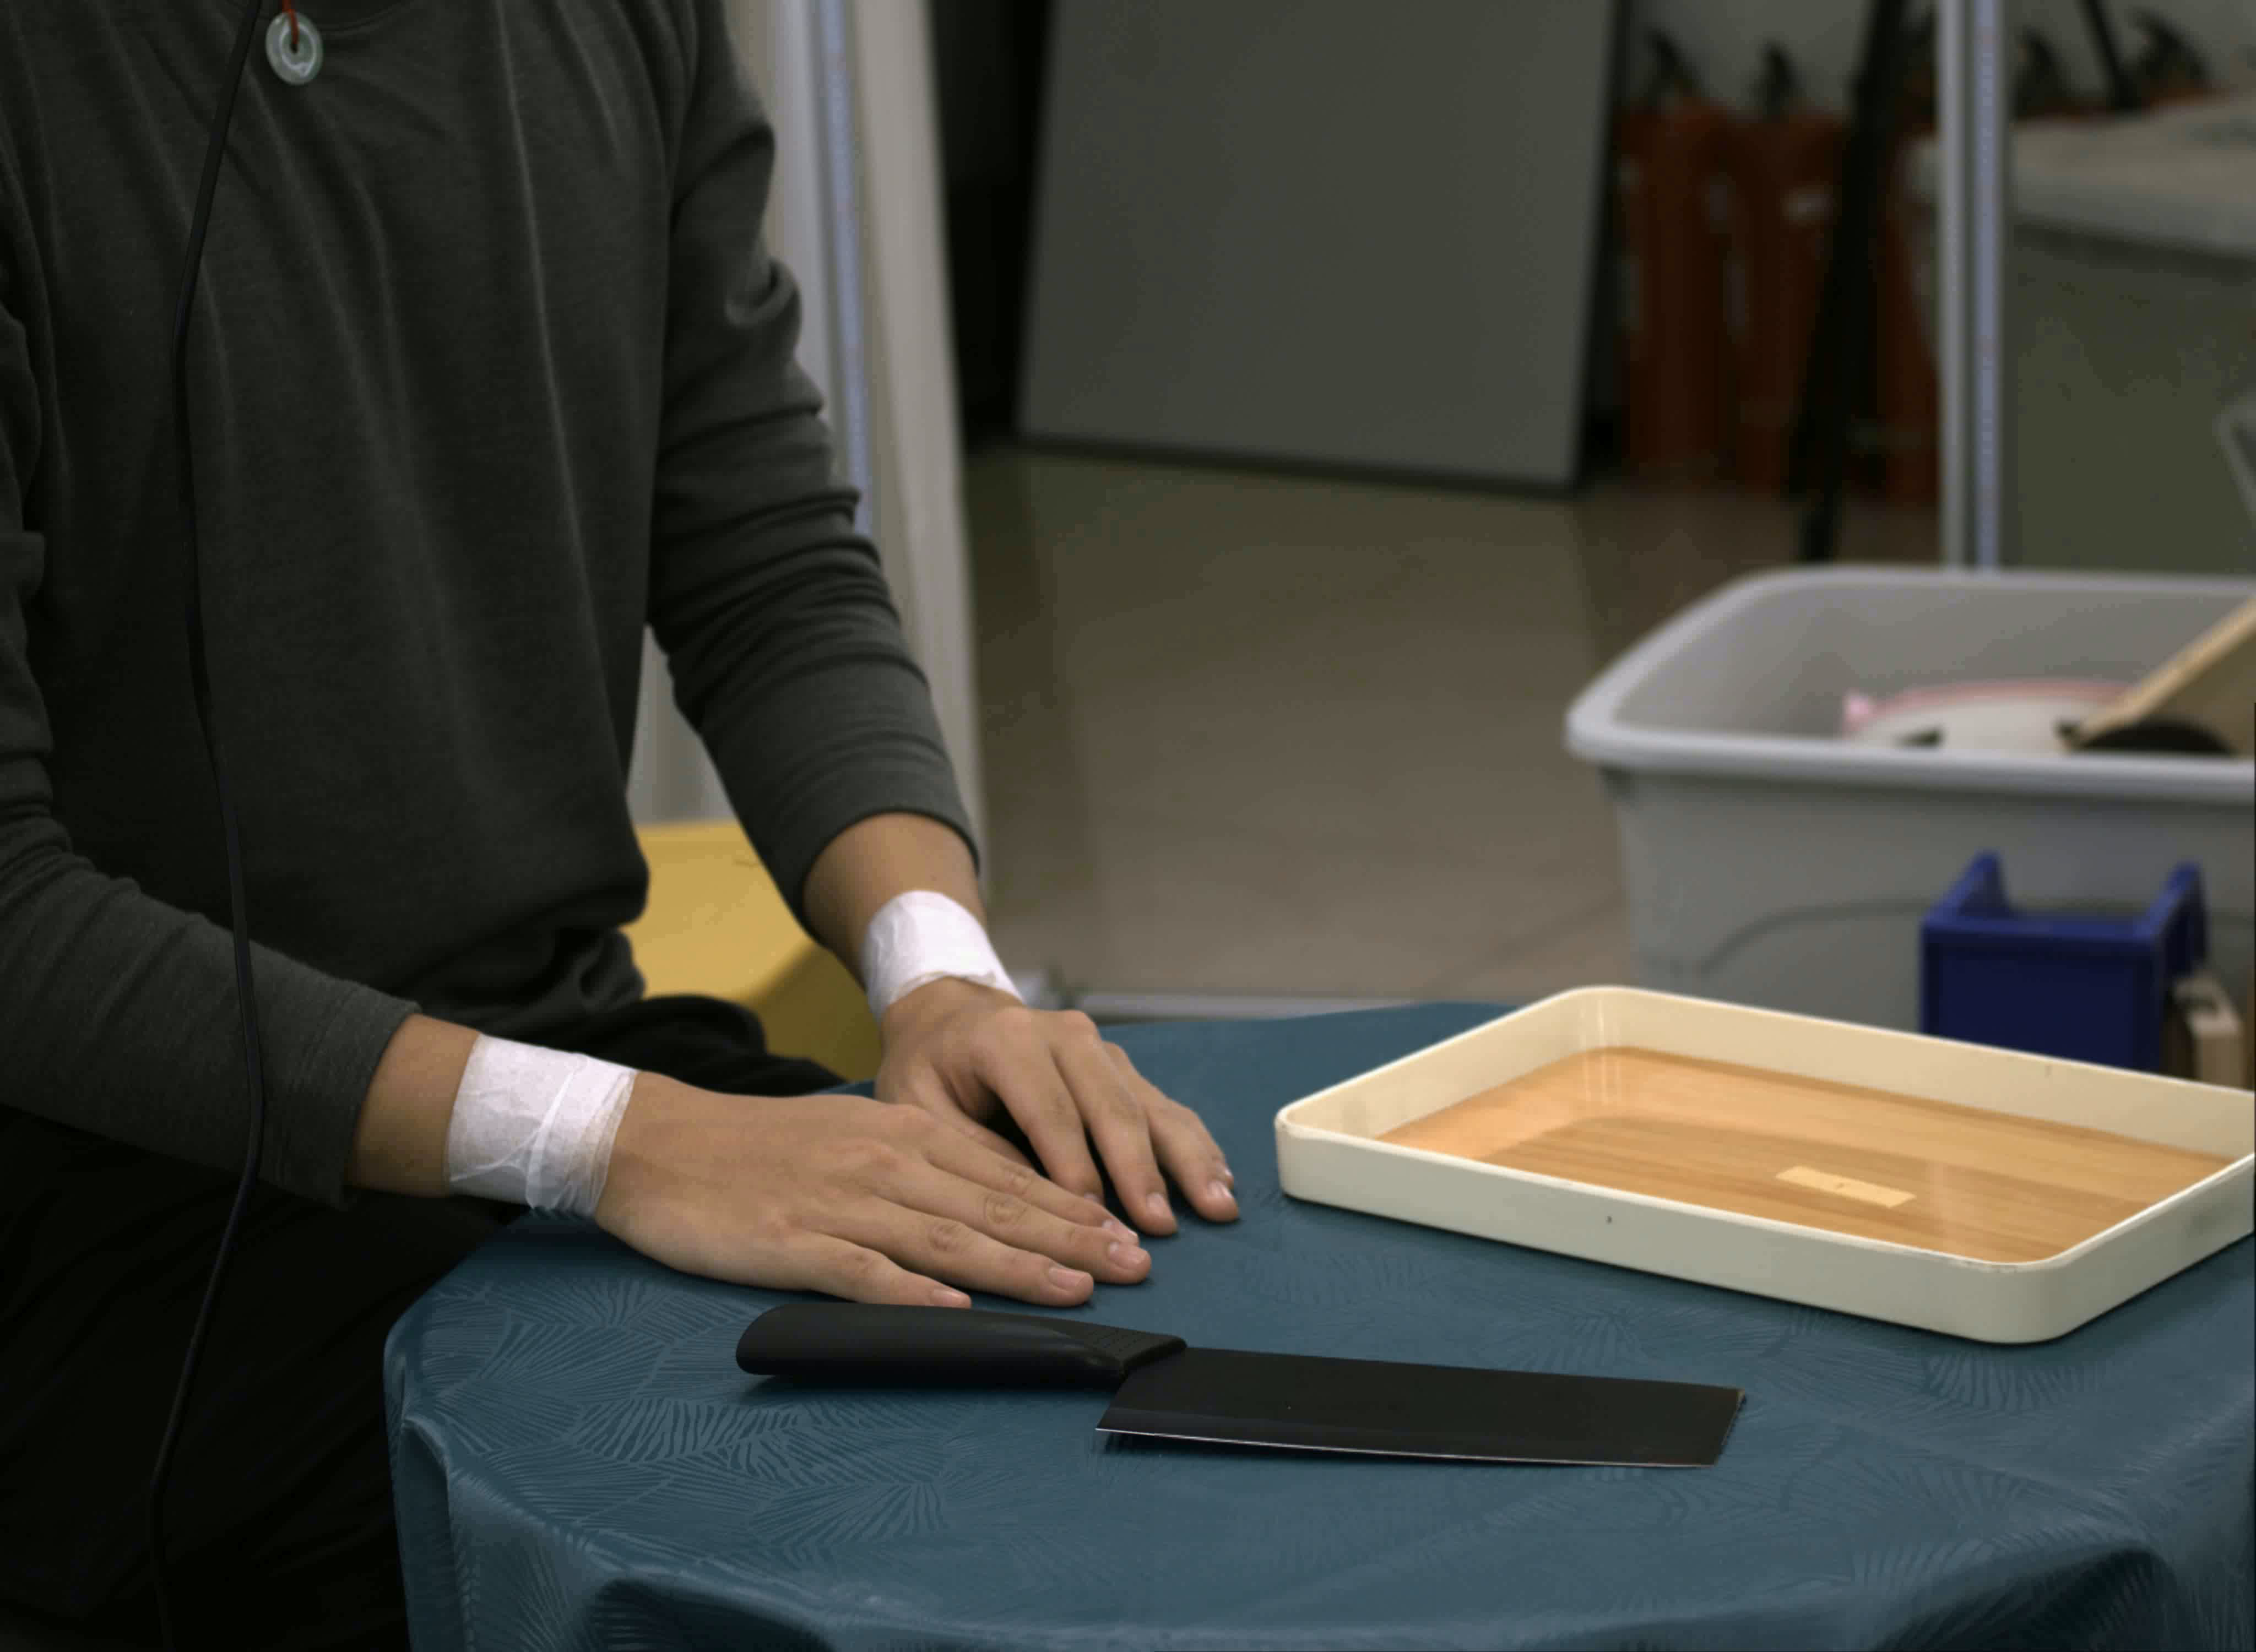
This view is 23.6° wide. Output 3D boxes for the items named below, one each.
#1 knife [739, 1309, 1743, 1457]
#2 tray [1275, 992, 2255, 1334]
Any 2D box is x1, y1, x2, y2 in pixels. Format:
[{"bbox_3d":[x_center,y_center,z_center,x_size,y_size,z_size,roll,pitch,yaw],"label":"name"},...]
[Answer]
[{"bbox_3d":[0.029,0.163,1.564,0.302,0.021,0.080,3,16,21],"label":"knife"},{"bbox_3d":[0.213,0.104,1.724,0.303,0.028,0.188,8,18,42],"label":"tray"}]
